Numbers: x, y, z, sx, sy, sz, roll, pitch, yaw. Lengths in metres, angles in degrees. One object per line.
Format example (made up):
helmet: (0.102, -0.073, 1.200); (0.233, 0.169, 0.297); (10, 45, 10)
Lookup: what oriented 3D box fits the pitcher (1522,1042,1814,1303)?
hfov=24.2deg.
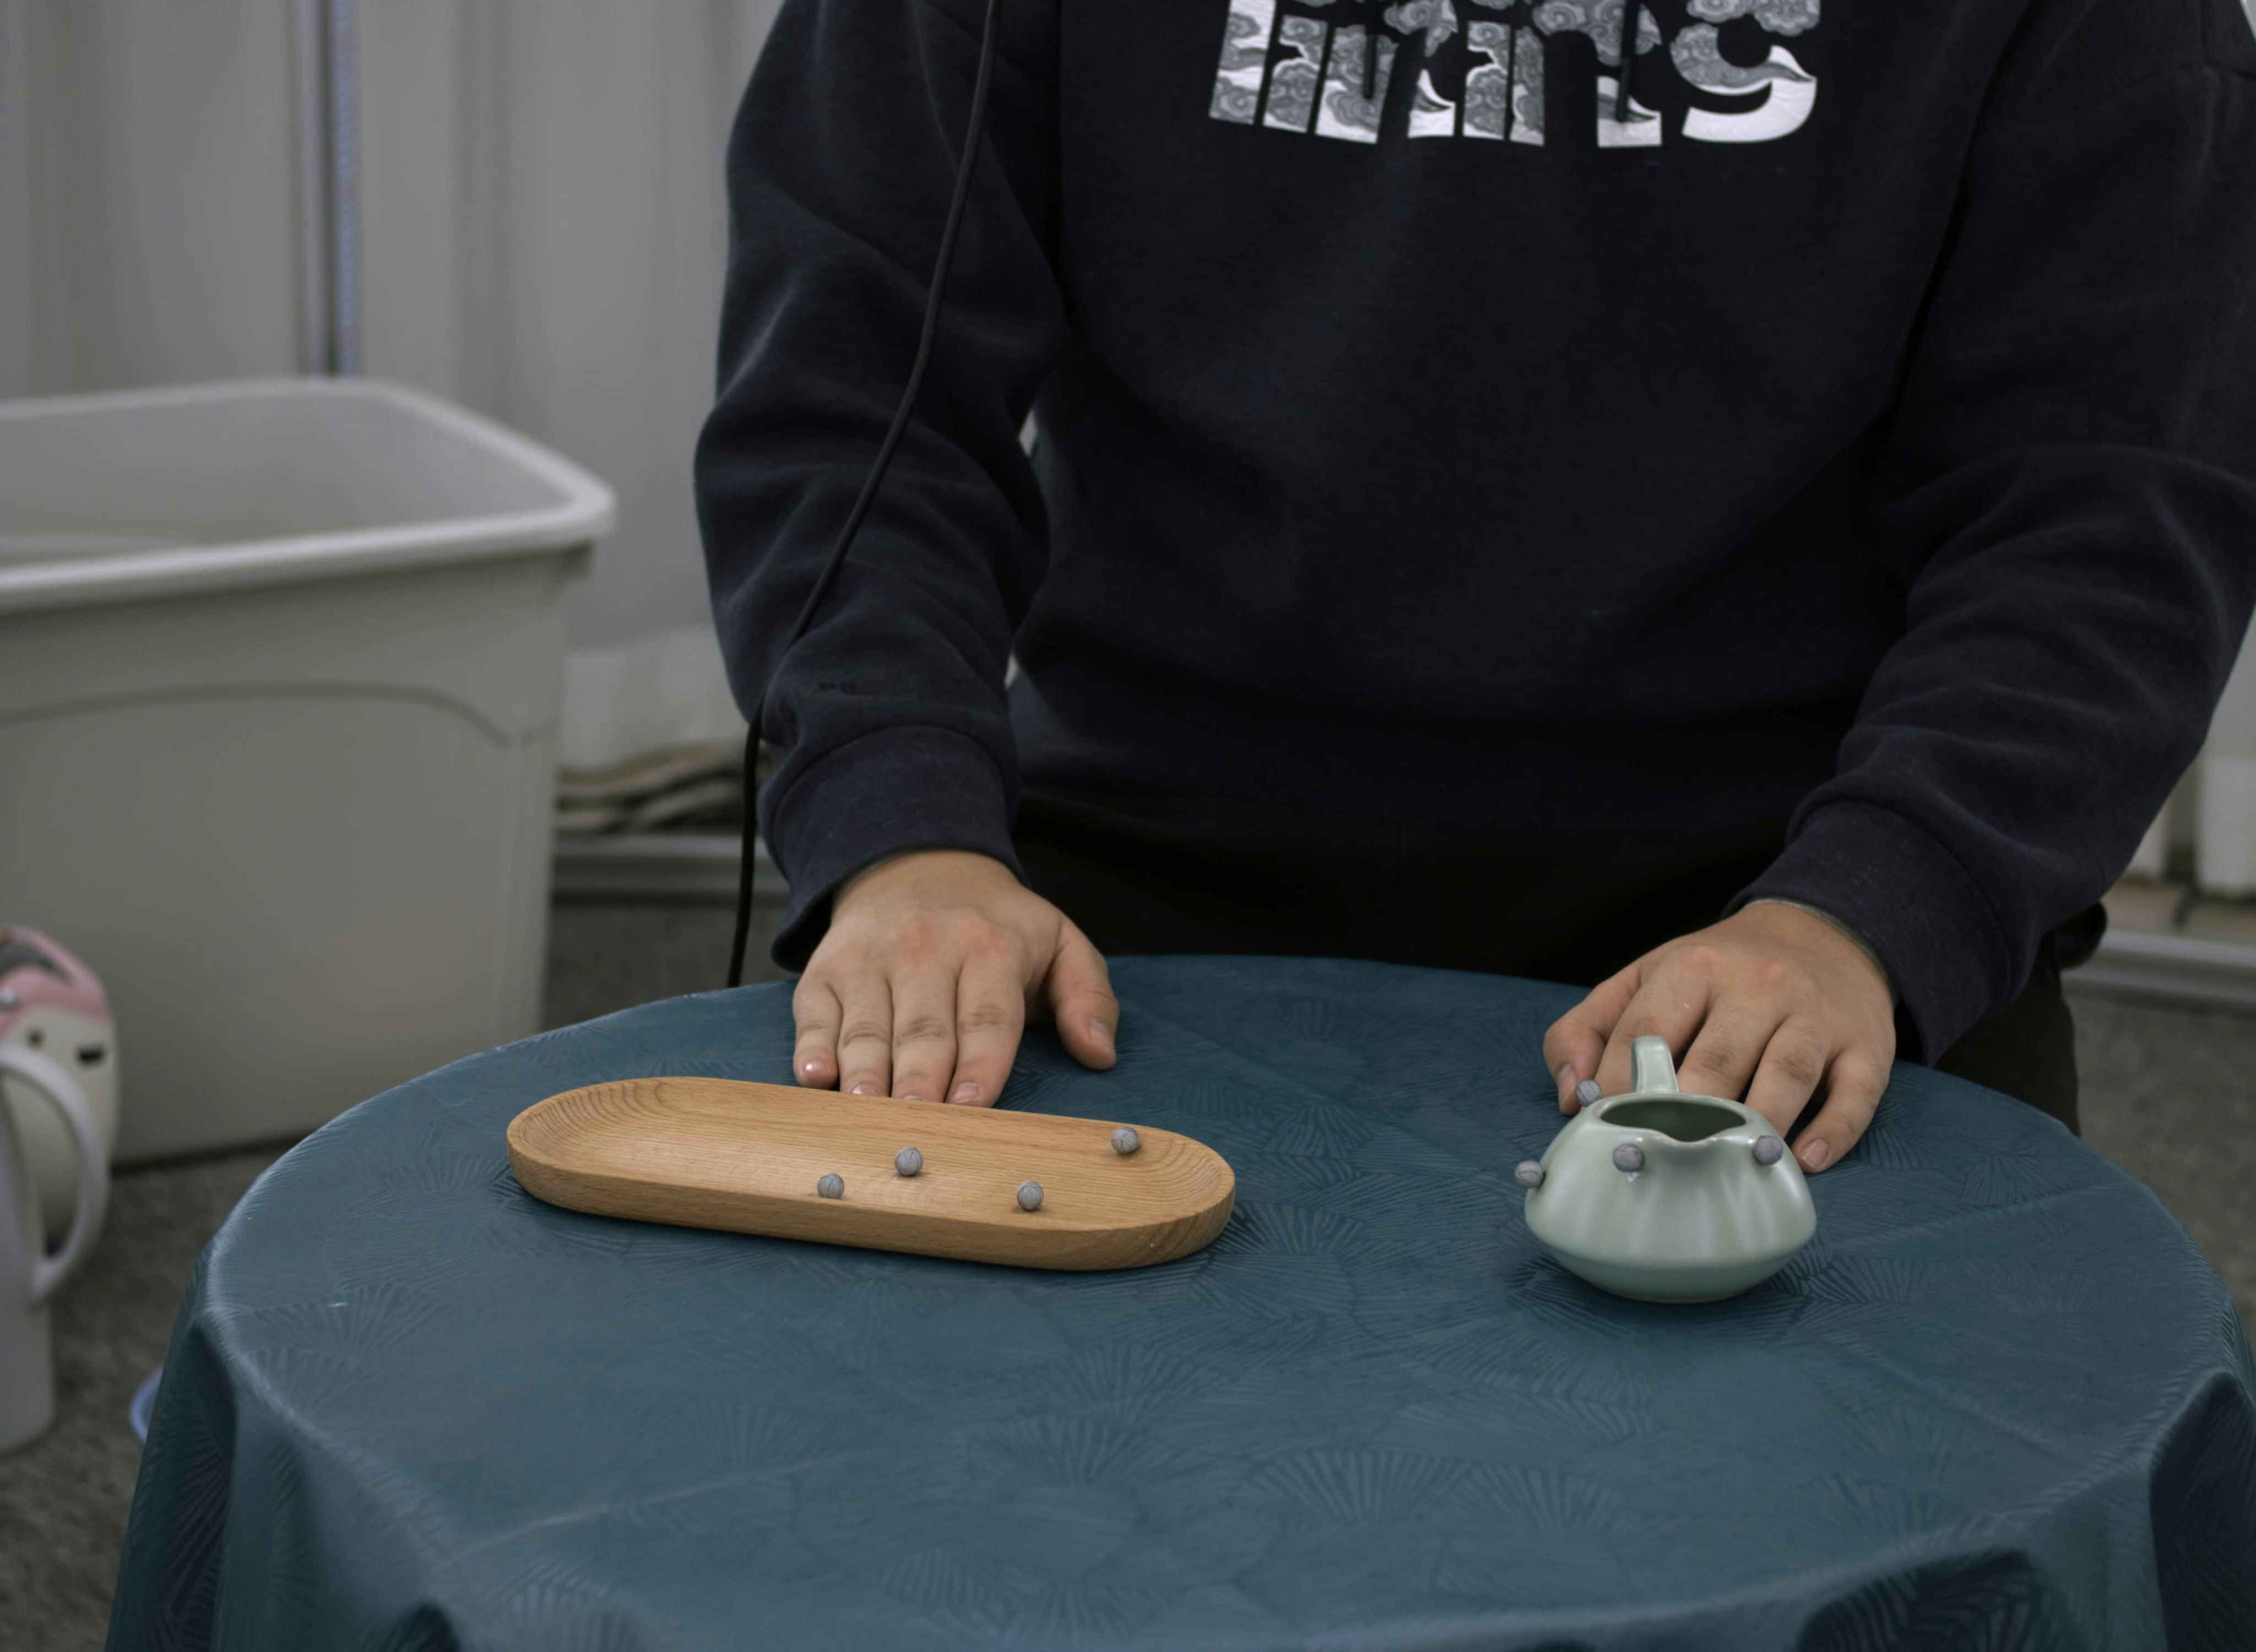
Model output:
pitcher: (0.159, 0.103, 1.563); (0.086, 0.061, 0.107); (1, 13, -4)

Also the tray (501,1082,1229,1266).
tray: (-0.082, 0.106, 1.615); (0.229, 0.020, 0.102); (3, 14, 16)
